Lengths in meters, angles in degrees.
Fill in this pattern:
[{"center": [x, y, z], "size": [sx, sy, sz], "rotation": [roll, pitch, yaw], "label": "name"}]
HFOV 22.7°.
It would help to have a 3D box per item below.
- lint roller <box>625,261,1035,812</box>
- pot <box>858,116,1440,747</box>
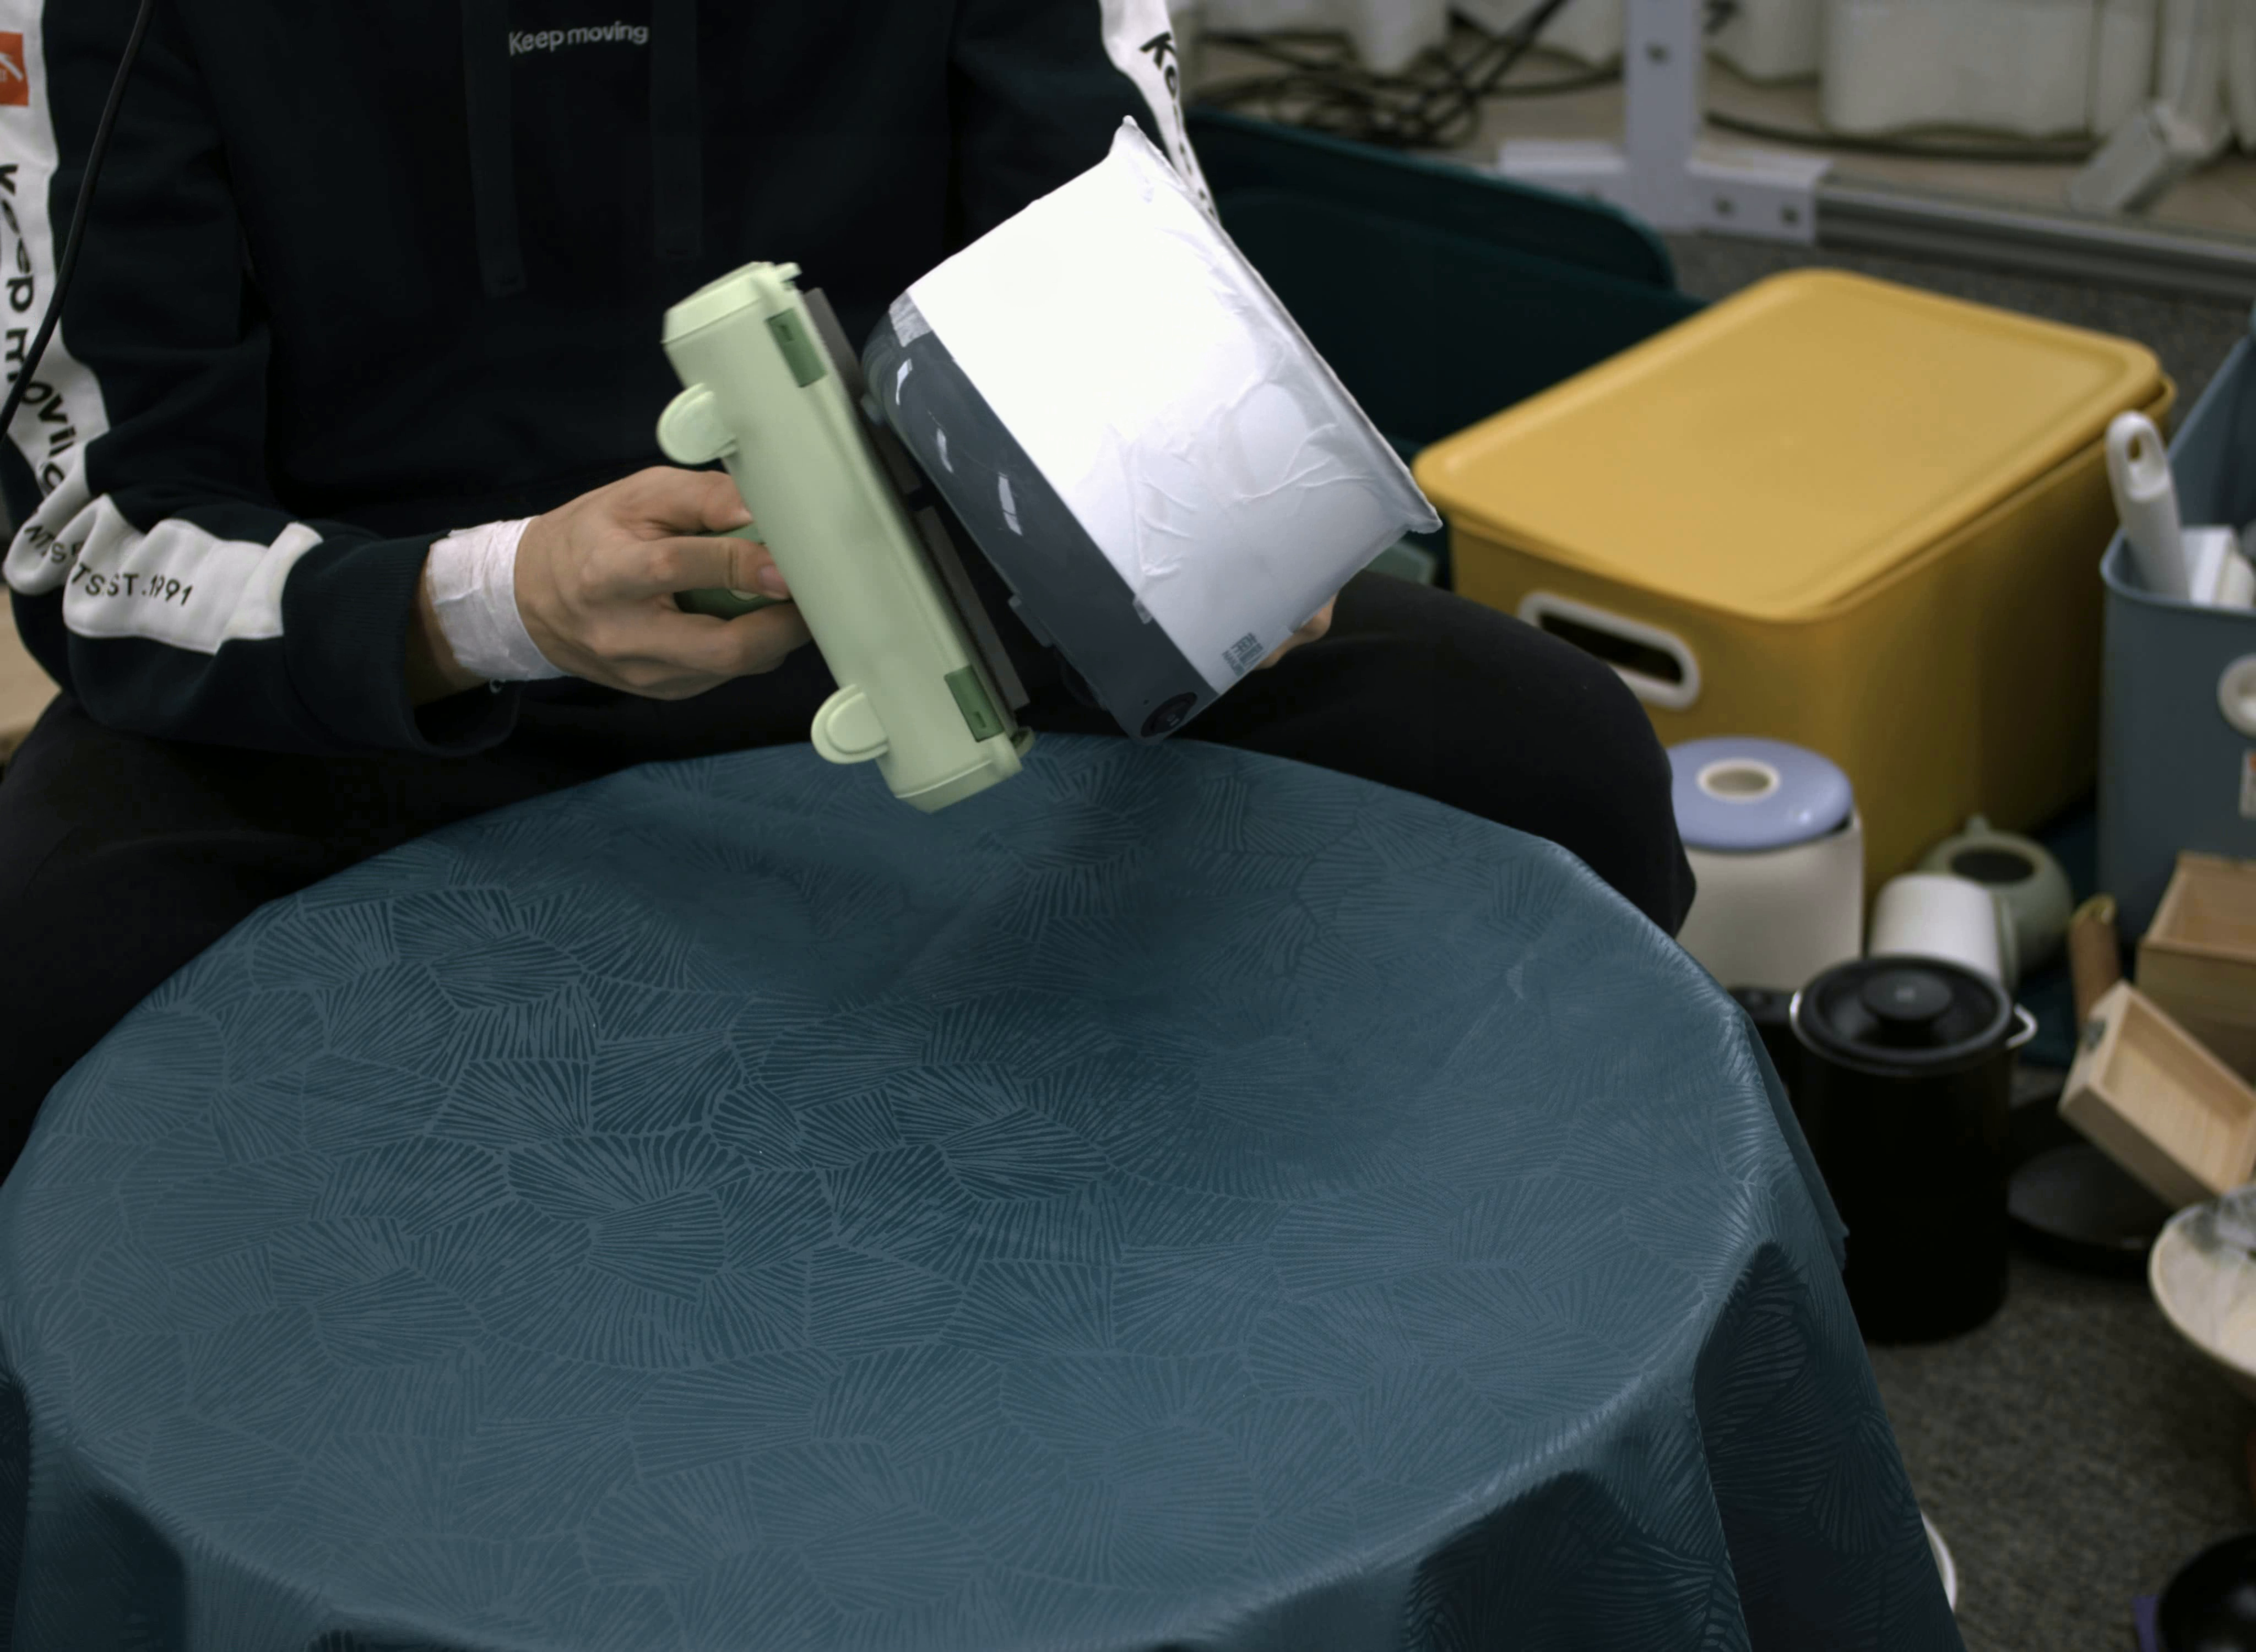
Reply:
[{"center": [-0.137, -0.085, 1.971], "size": [0.181, 0.198, 0.083], "rotation": [-18, 12, 46], "label": "lint roller"}, {"center": [0.010, -0.128, 1.958], "size": [0.136, 0.232, 0.180], "rotation": [-37, 71, 3], "label": "pot"}]
